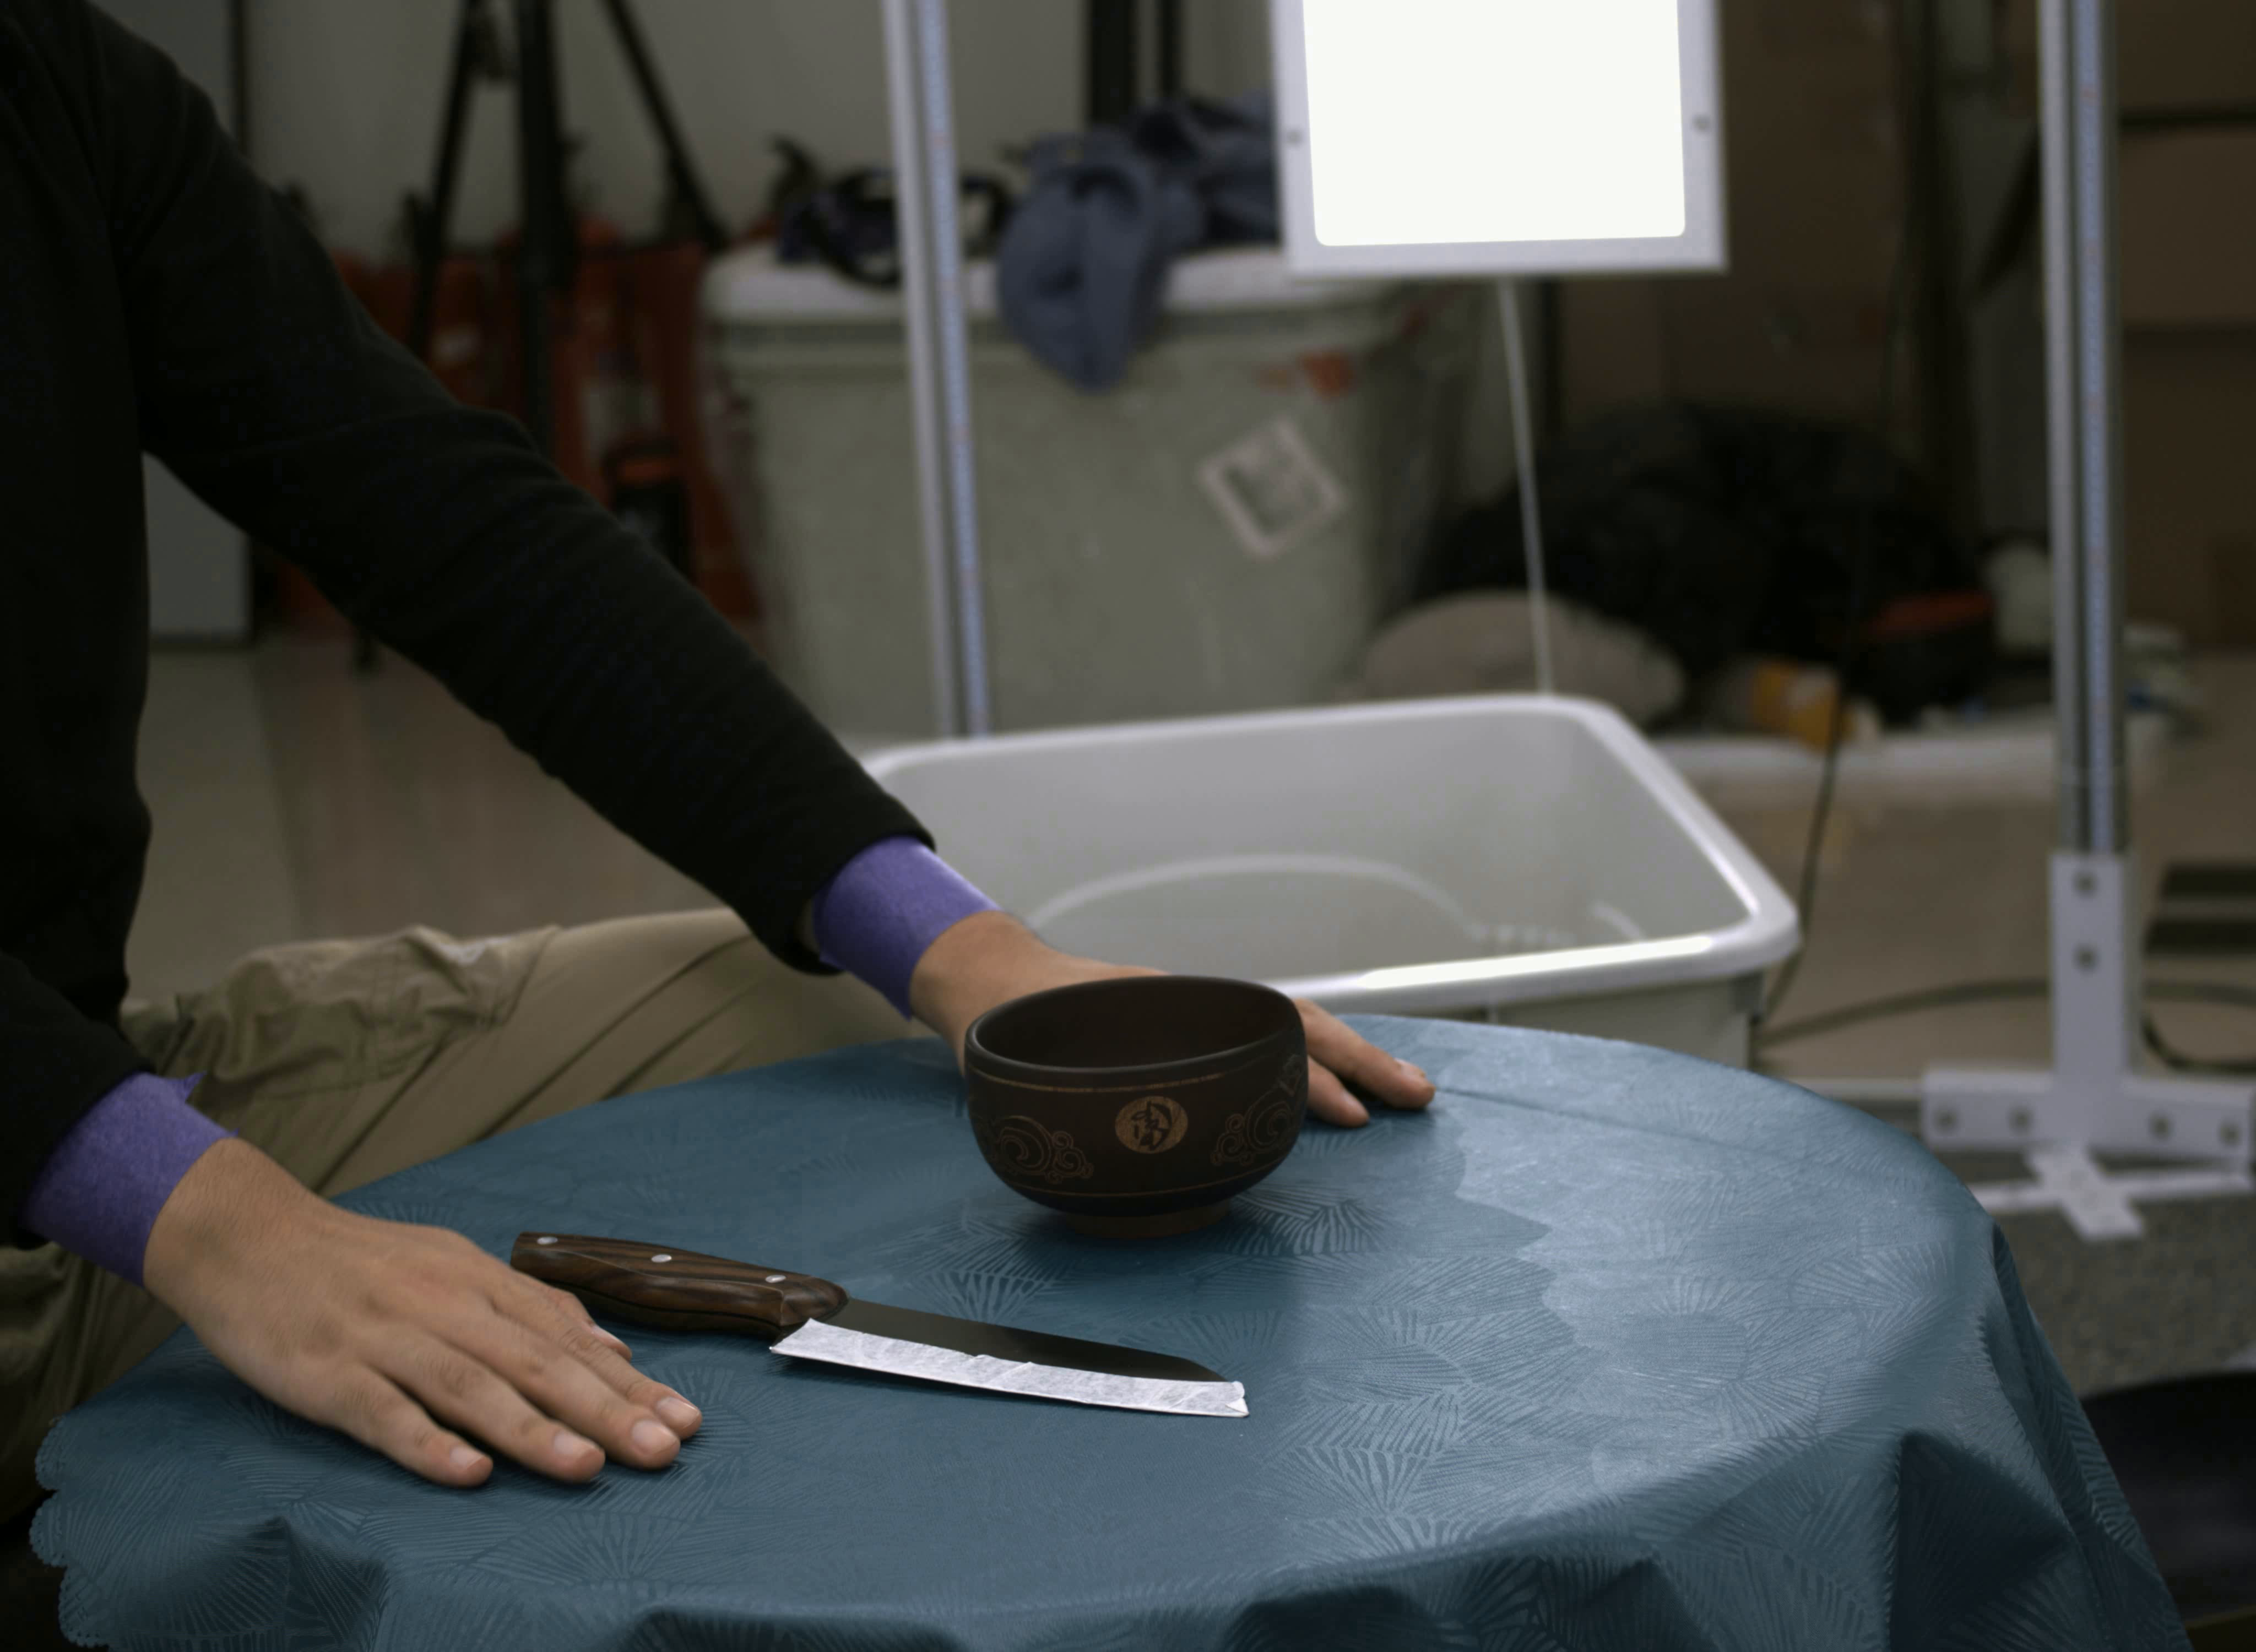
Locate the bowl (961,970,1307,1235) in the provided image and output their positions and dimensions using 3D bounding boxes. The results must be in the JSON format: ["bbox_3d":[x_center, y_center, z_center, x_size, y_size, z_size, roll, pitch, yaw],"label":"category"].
[{"bbox_3d":[0.004,0.097,1.865,0.118,0.070,0.118,-5,13,0],"label":"bowl"}]

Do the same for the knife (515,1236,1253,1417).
[{"bbox_3d":[-0.082,0.162,1.757,0.295,0.020,0.049,8,23,34],"label":"knife"}]
